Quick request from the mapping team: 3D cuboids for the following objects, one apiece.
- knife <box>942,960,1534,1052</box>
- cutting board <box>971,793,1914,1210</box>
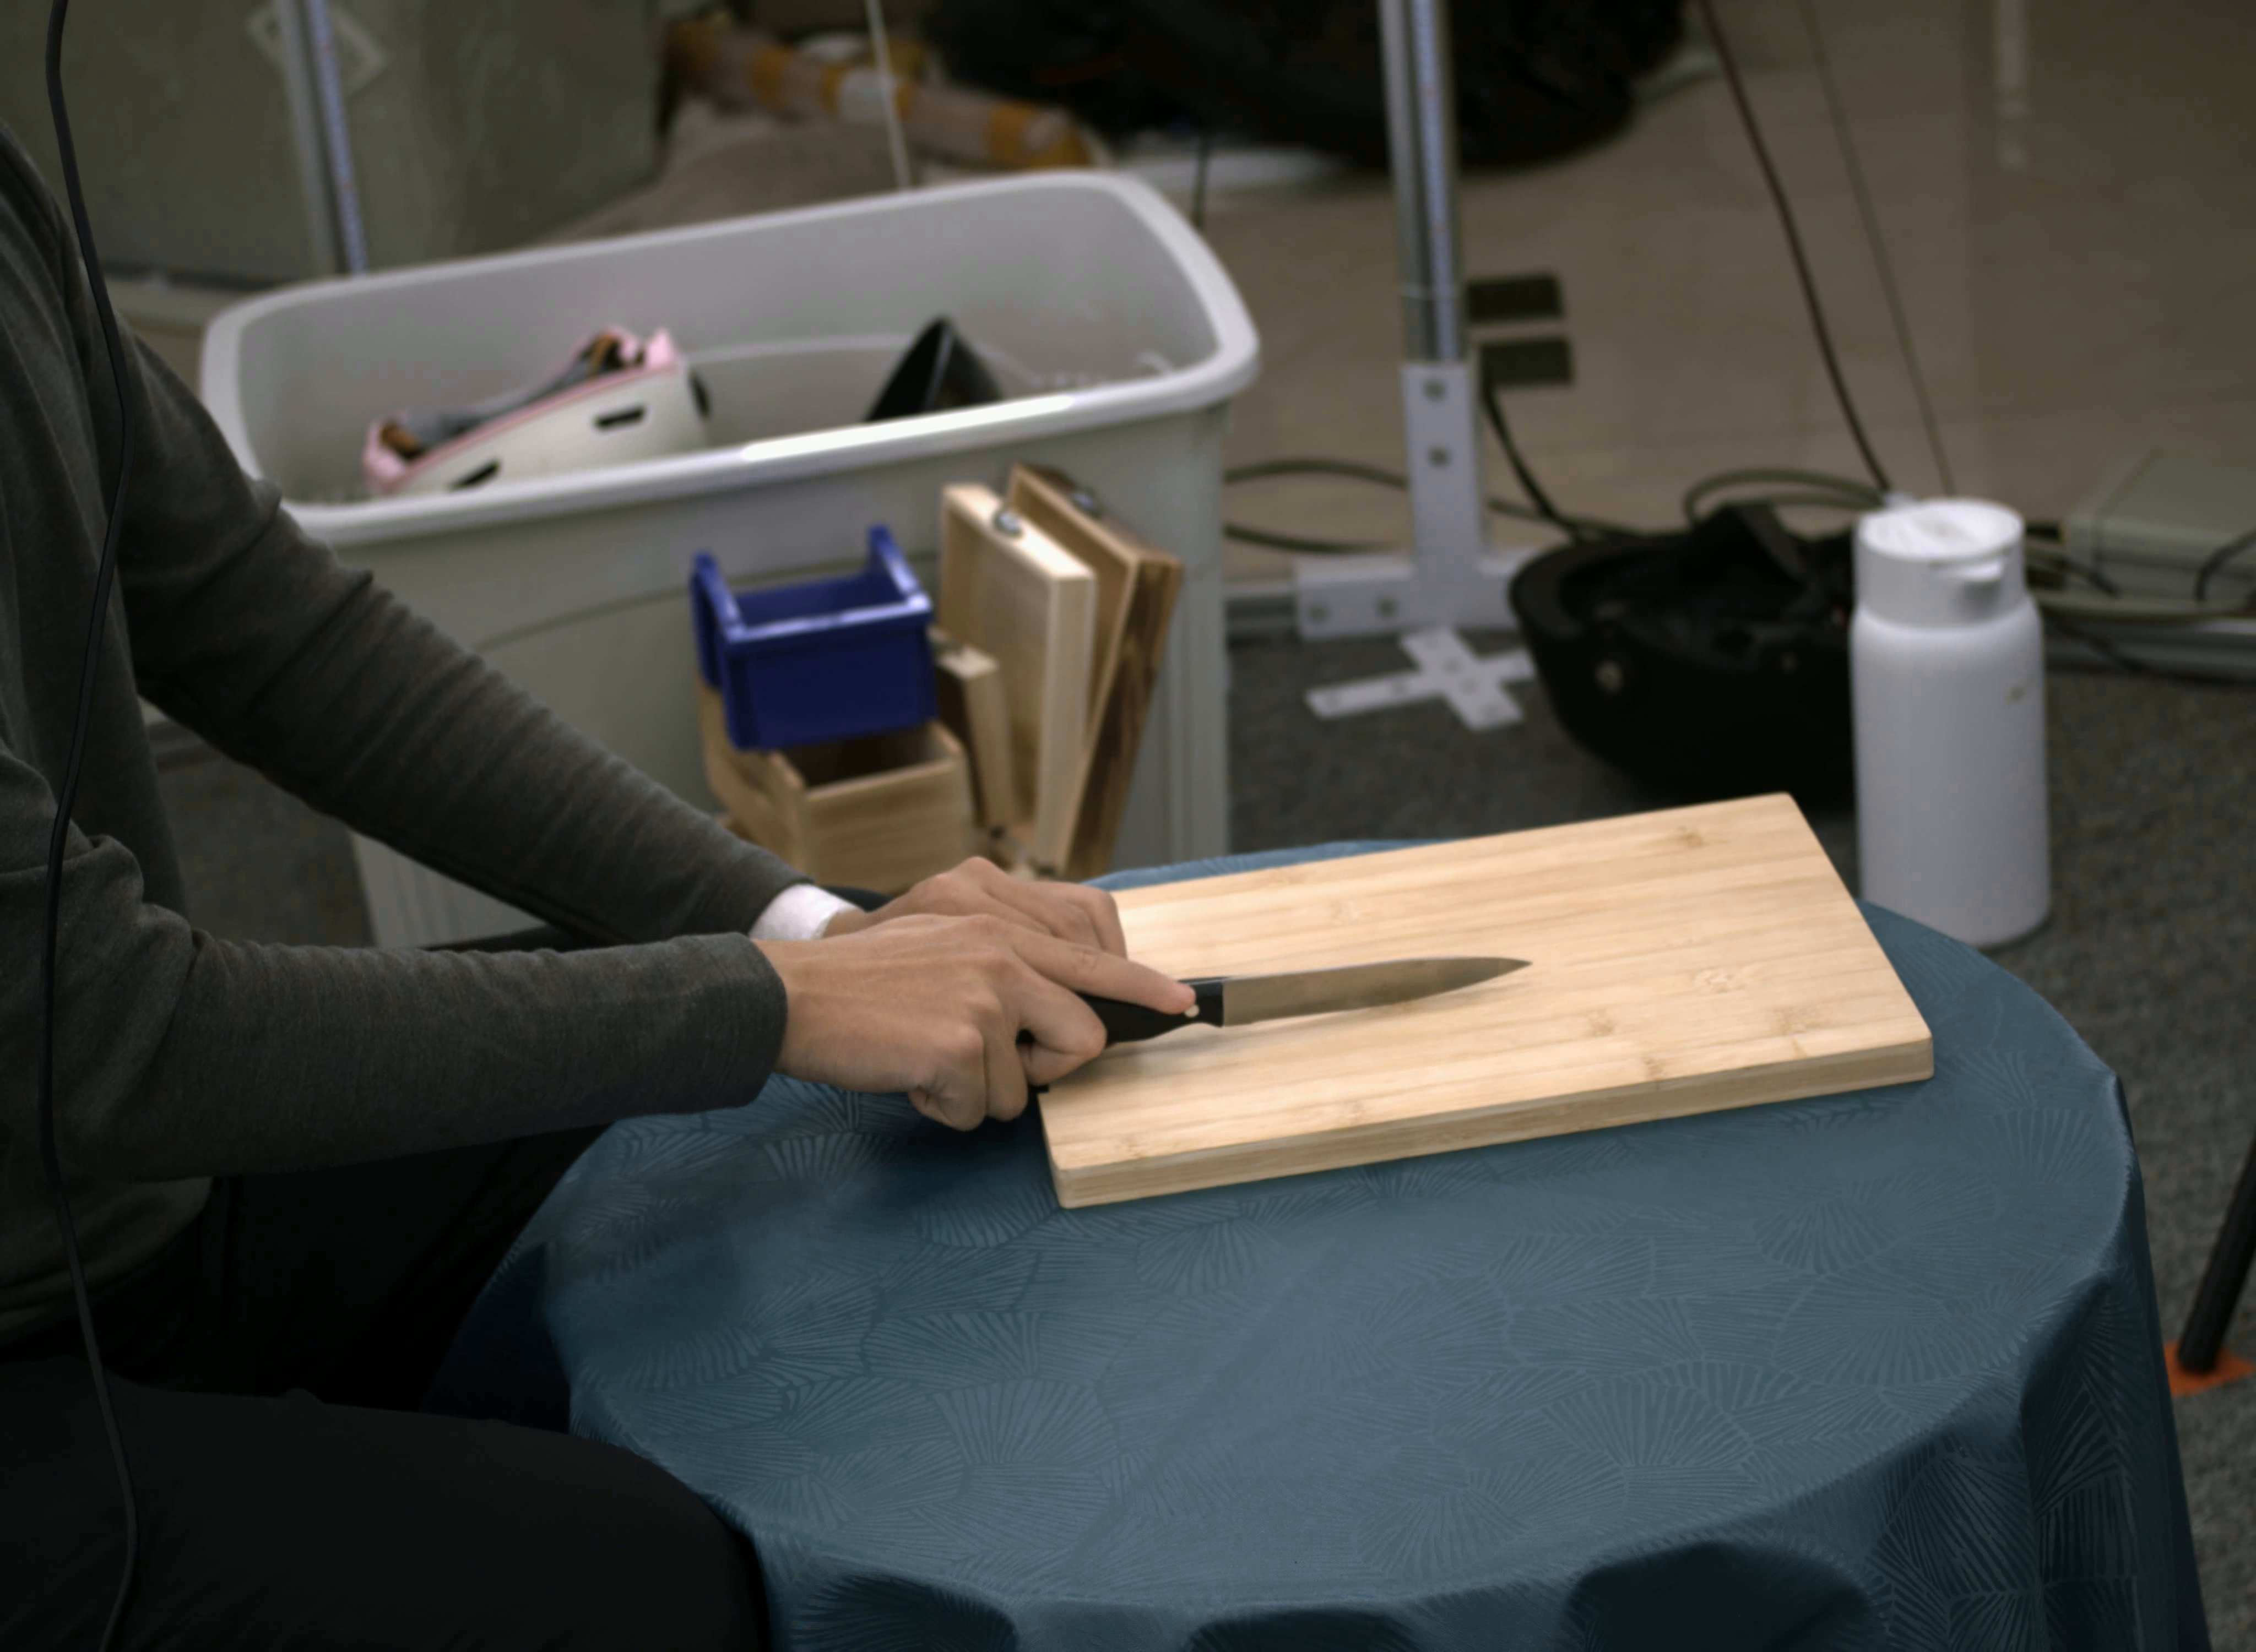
[{"bbox_3d":[0.044,0.067,2.215,0.237,0.025,0.016,-5,33,-11],"label":"knife"},{"bbox_3d":[0.120,0.067,2.259,0.348,0.024,0.247,-9,24,-5],"label":"cutting board"}]
